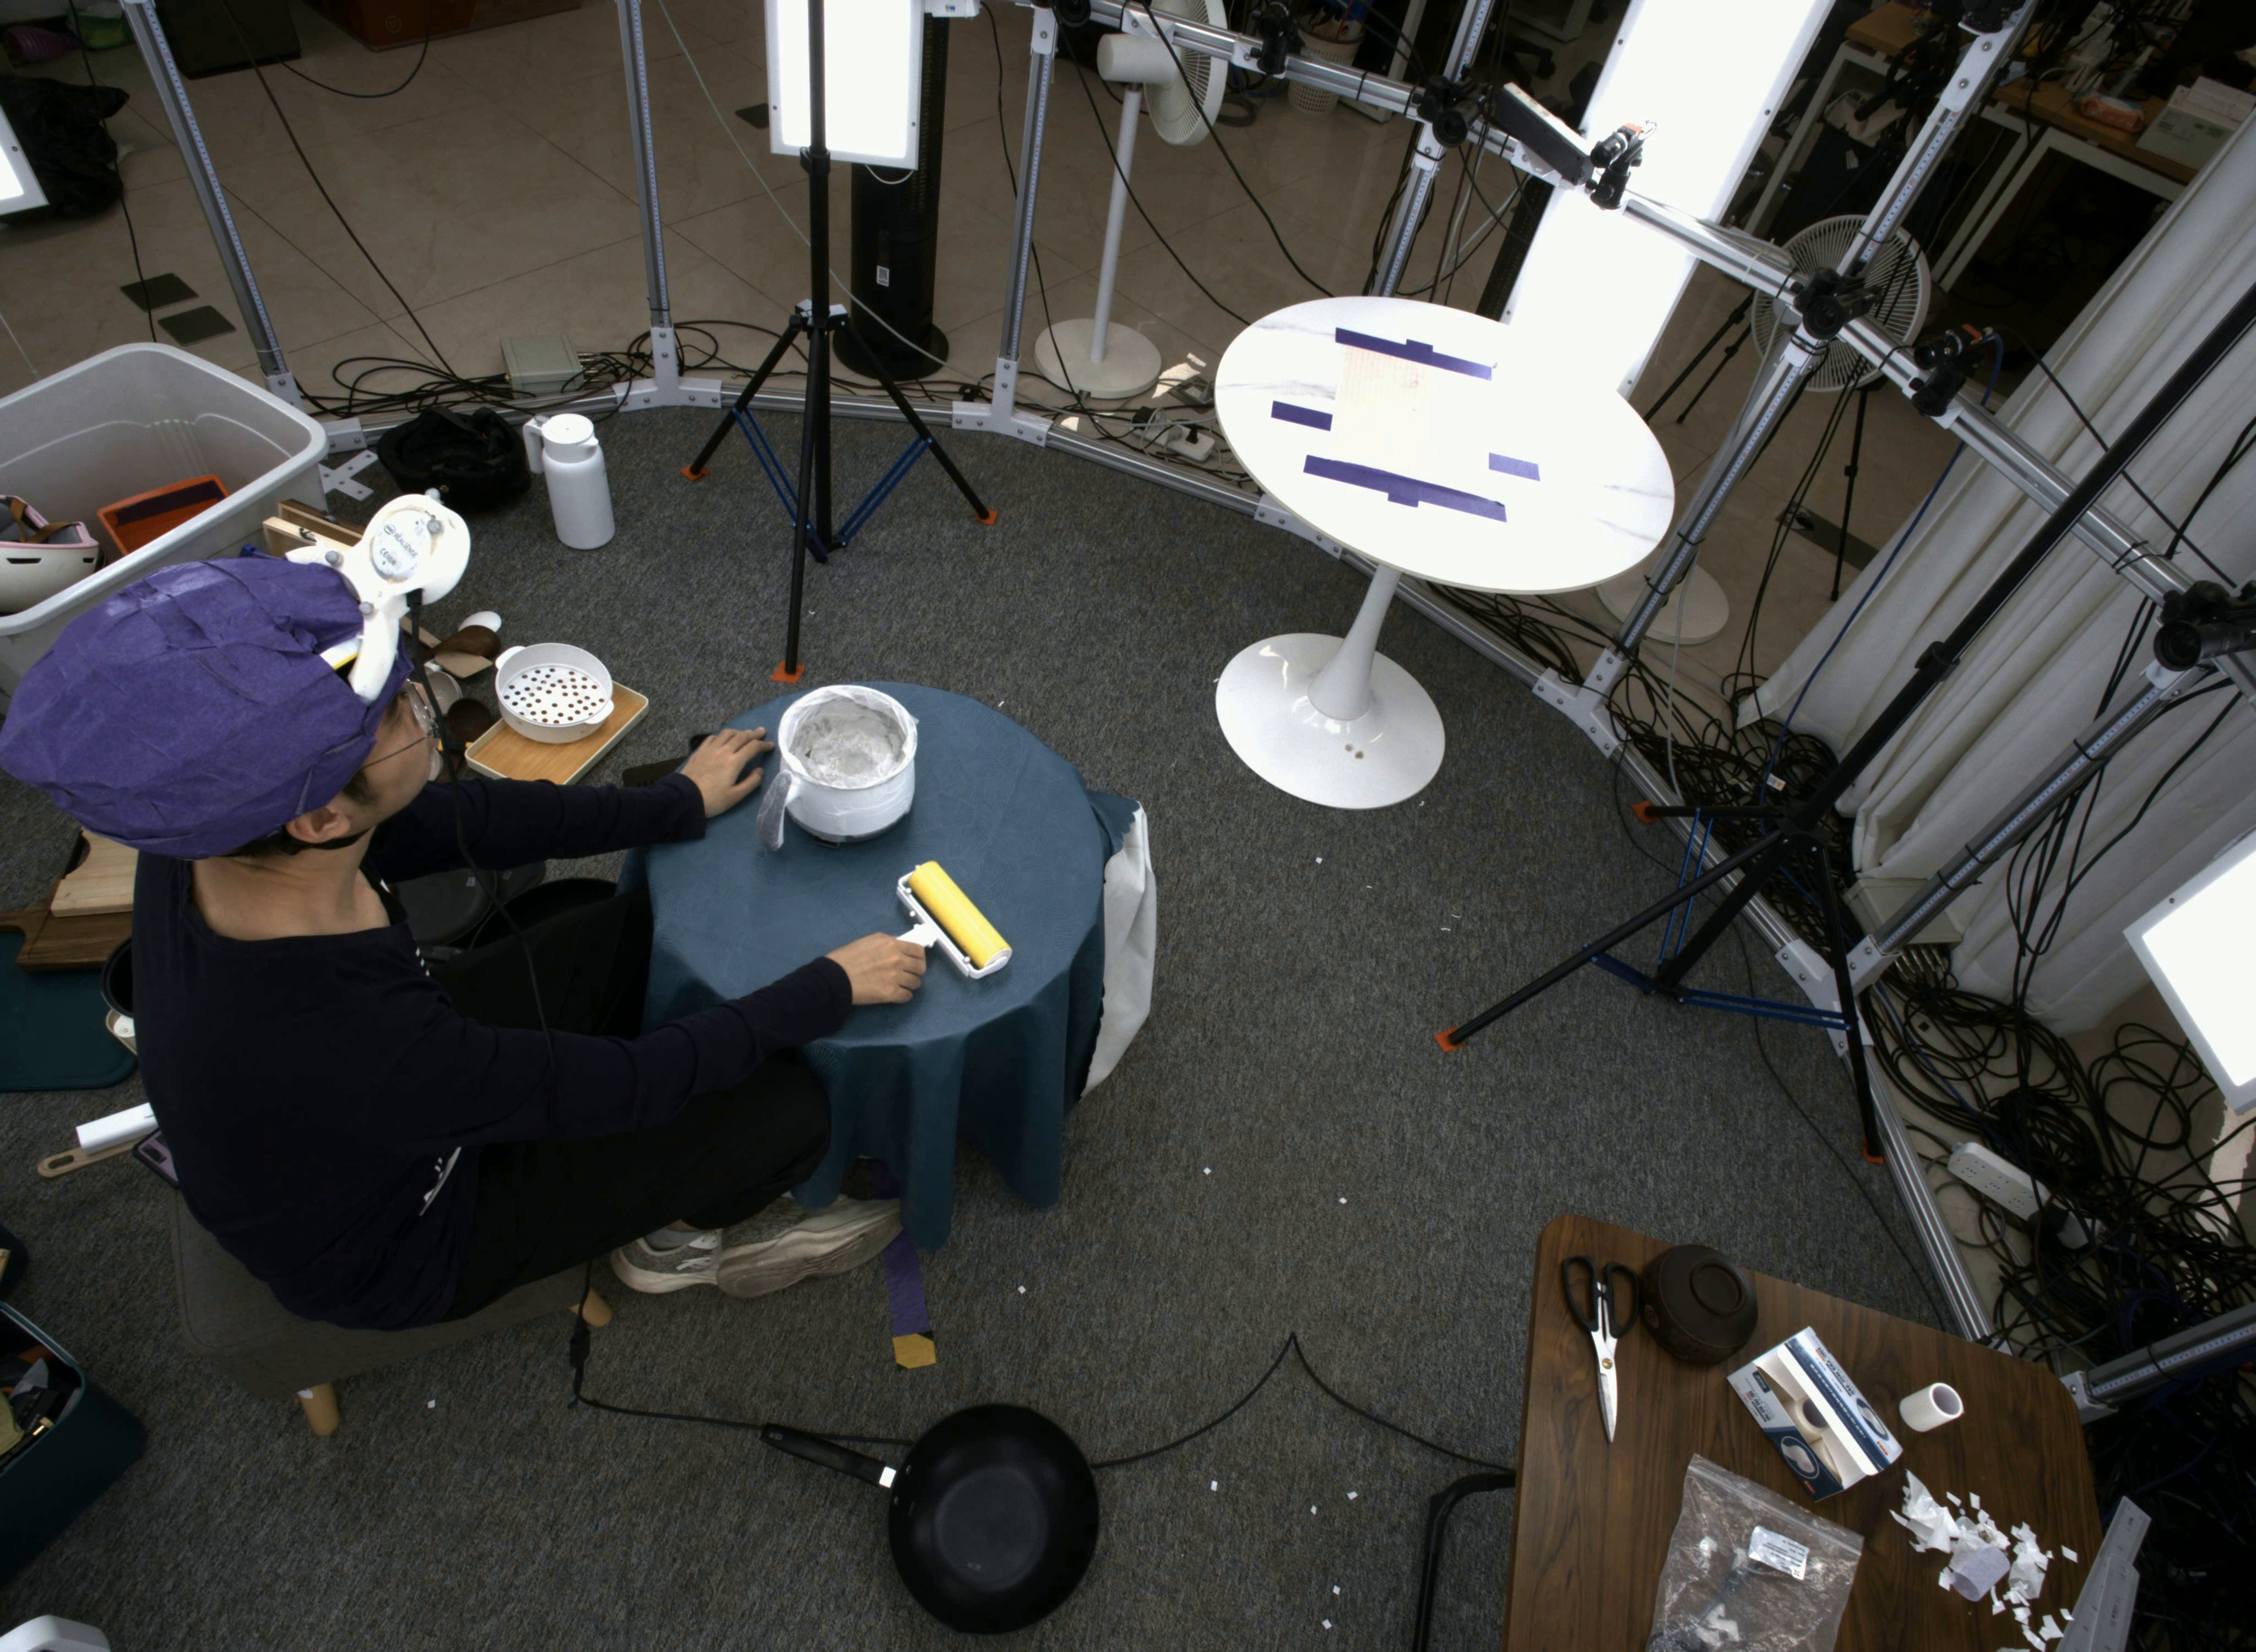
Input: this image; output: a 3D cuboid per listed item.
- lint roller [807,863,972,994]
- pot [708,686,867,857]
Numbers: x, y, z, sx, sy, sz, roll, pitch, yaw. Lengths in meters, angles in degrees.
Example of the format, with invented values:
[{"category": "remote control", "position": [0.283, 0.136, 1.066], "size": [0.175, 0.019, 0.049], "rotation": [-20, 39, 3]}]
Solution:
[{"category": "lint roller", "position": [-0.316, 0.143, 1.612], "size": [0.170, 0.052, 0.193], "rotation": [42, 46, 19]}, {"category": "pot", "position": [-0.448, -0.059, 1.681], "size": [0.175, 0.139, 0.233], "rotation": [34, 52, 15]}]
